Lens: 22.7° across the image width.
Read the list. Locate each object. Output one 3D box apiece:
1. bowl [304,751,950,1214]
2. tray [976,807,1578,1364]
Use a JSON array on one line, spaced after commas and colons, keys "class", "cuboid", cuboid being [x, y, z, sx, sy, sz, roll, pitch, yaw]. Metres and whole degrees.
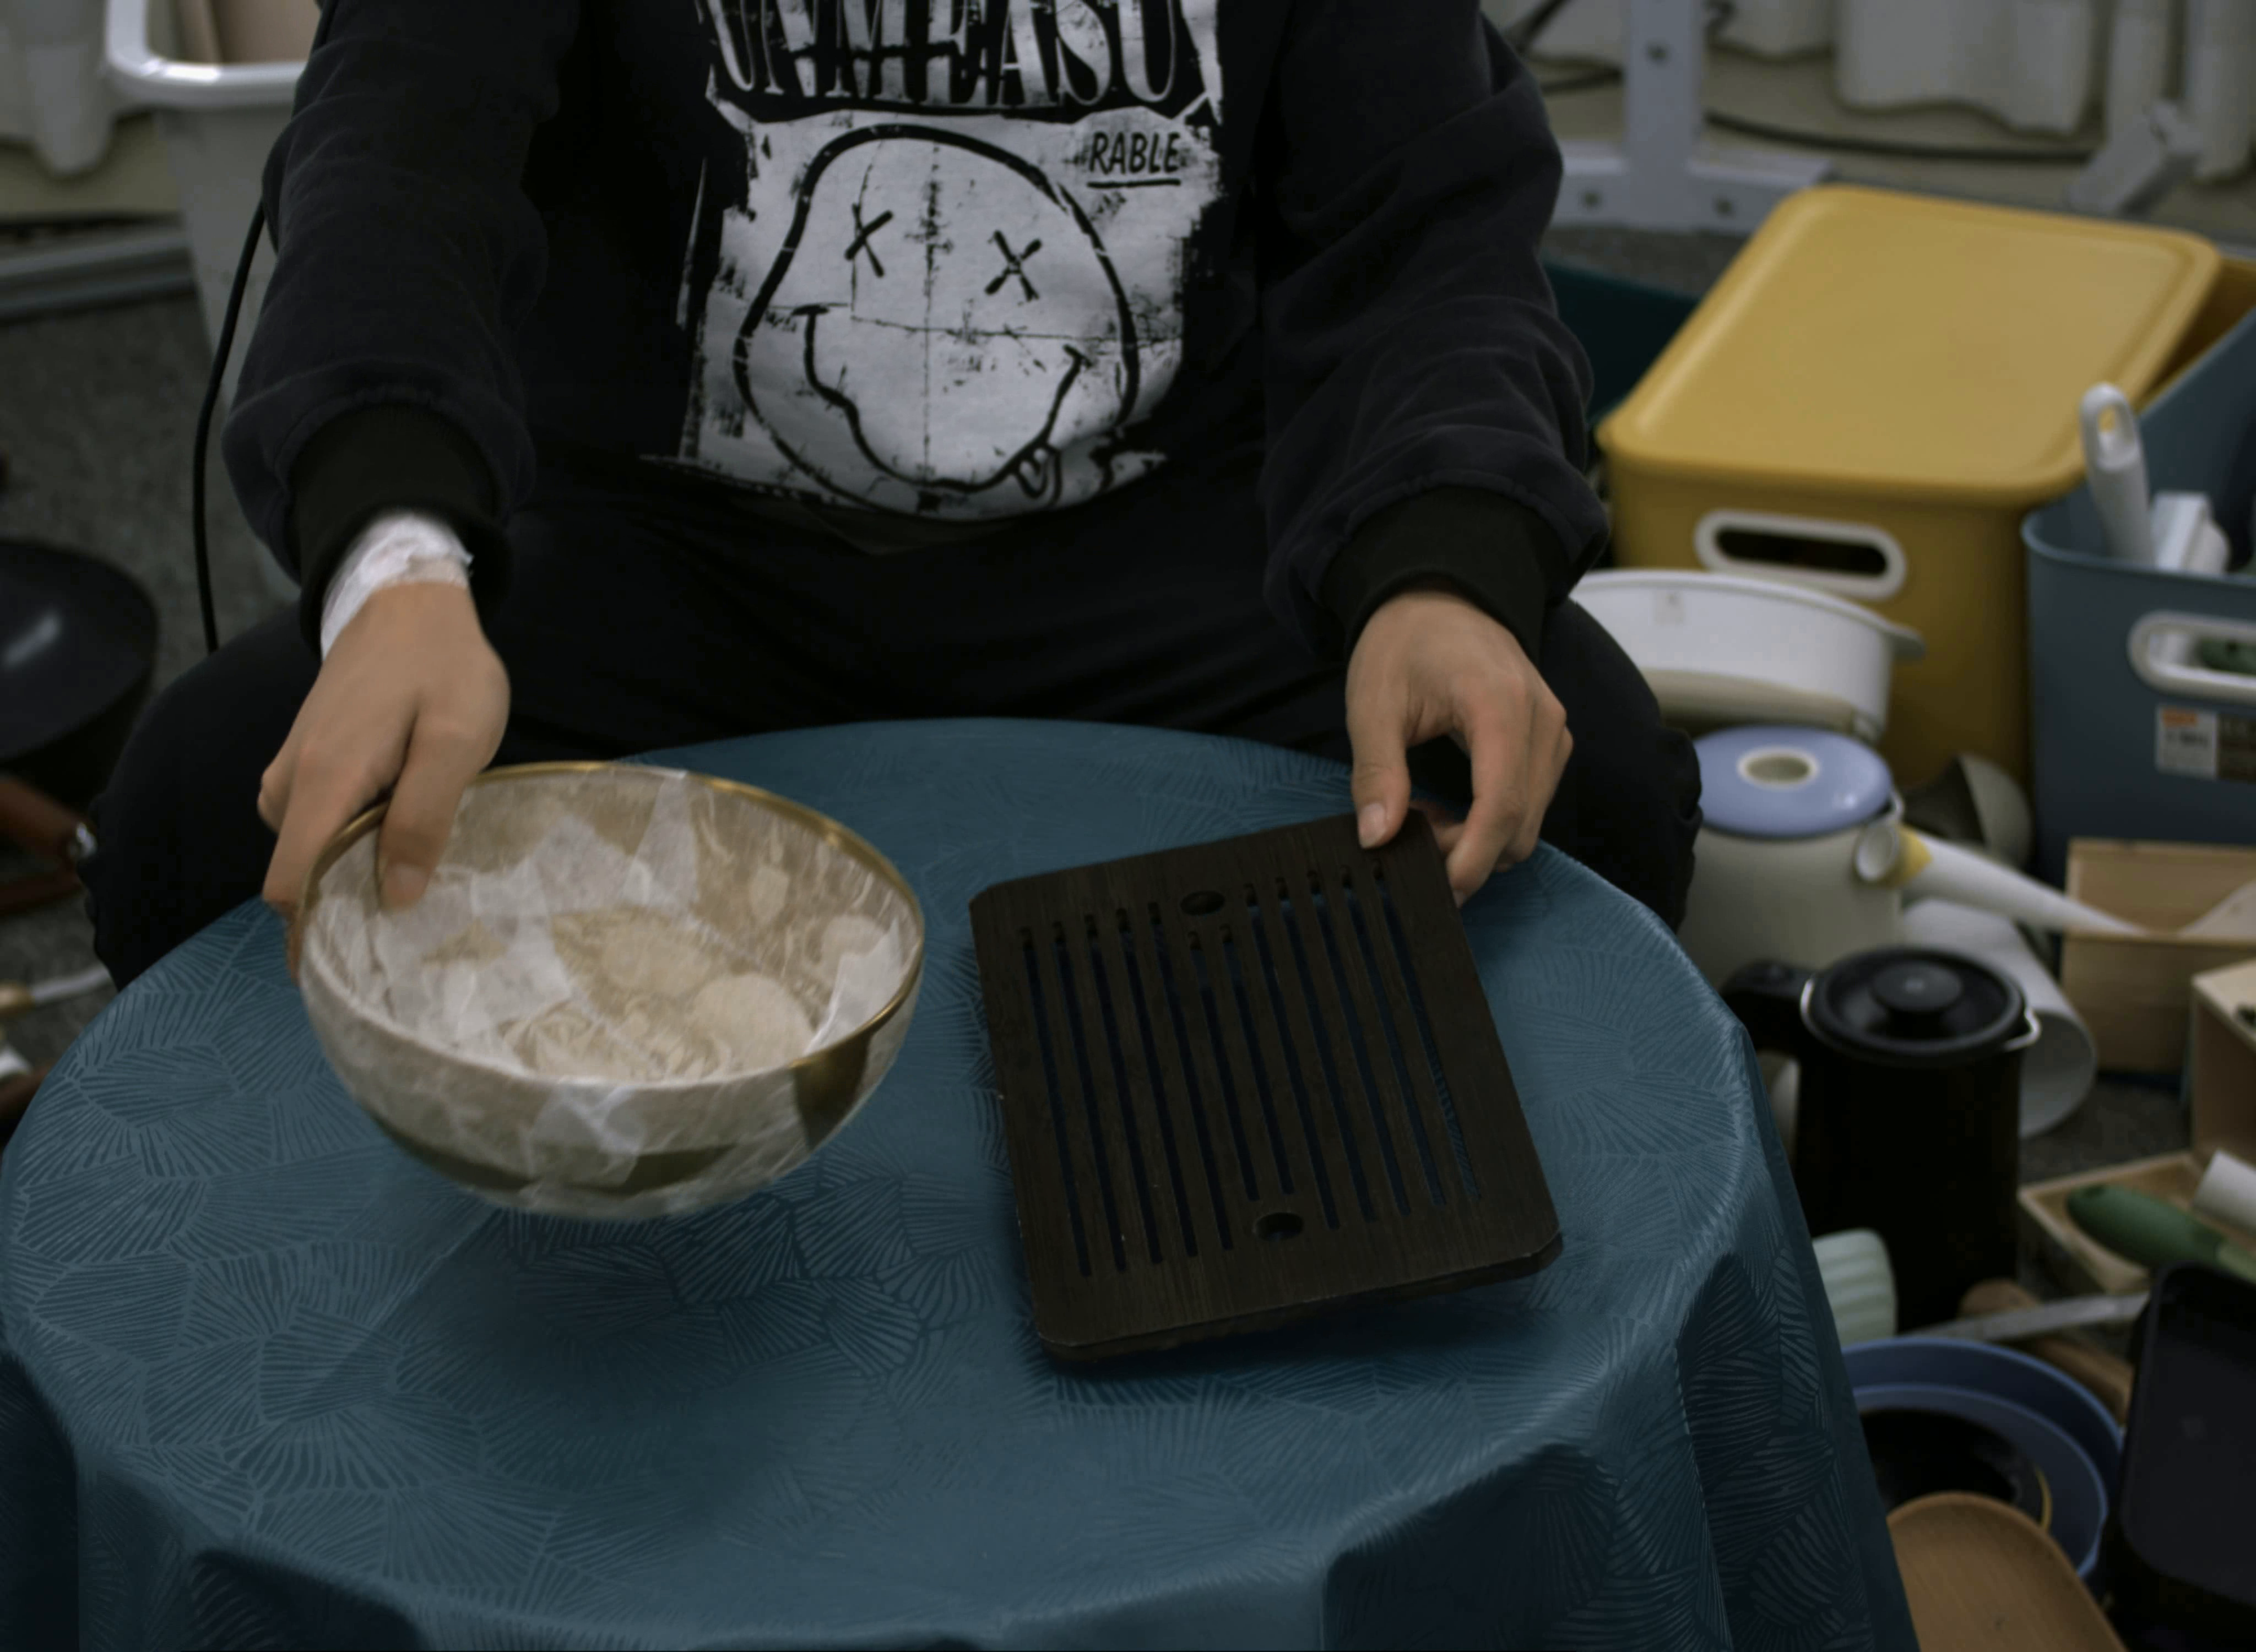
[{"class": "bowl", "cuboid": [-0.162, 0.062, 1.804, 0.214, 0.093, 0.218, 5, 28, -2]}, {"class": "tray", "cuboid": [0.044, 0.084, 1.890, 0.169, 0.018, 0.310, -11, 28, -1]}]
